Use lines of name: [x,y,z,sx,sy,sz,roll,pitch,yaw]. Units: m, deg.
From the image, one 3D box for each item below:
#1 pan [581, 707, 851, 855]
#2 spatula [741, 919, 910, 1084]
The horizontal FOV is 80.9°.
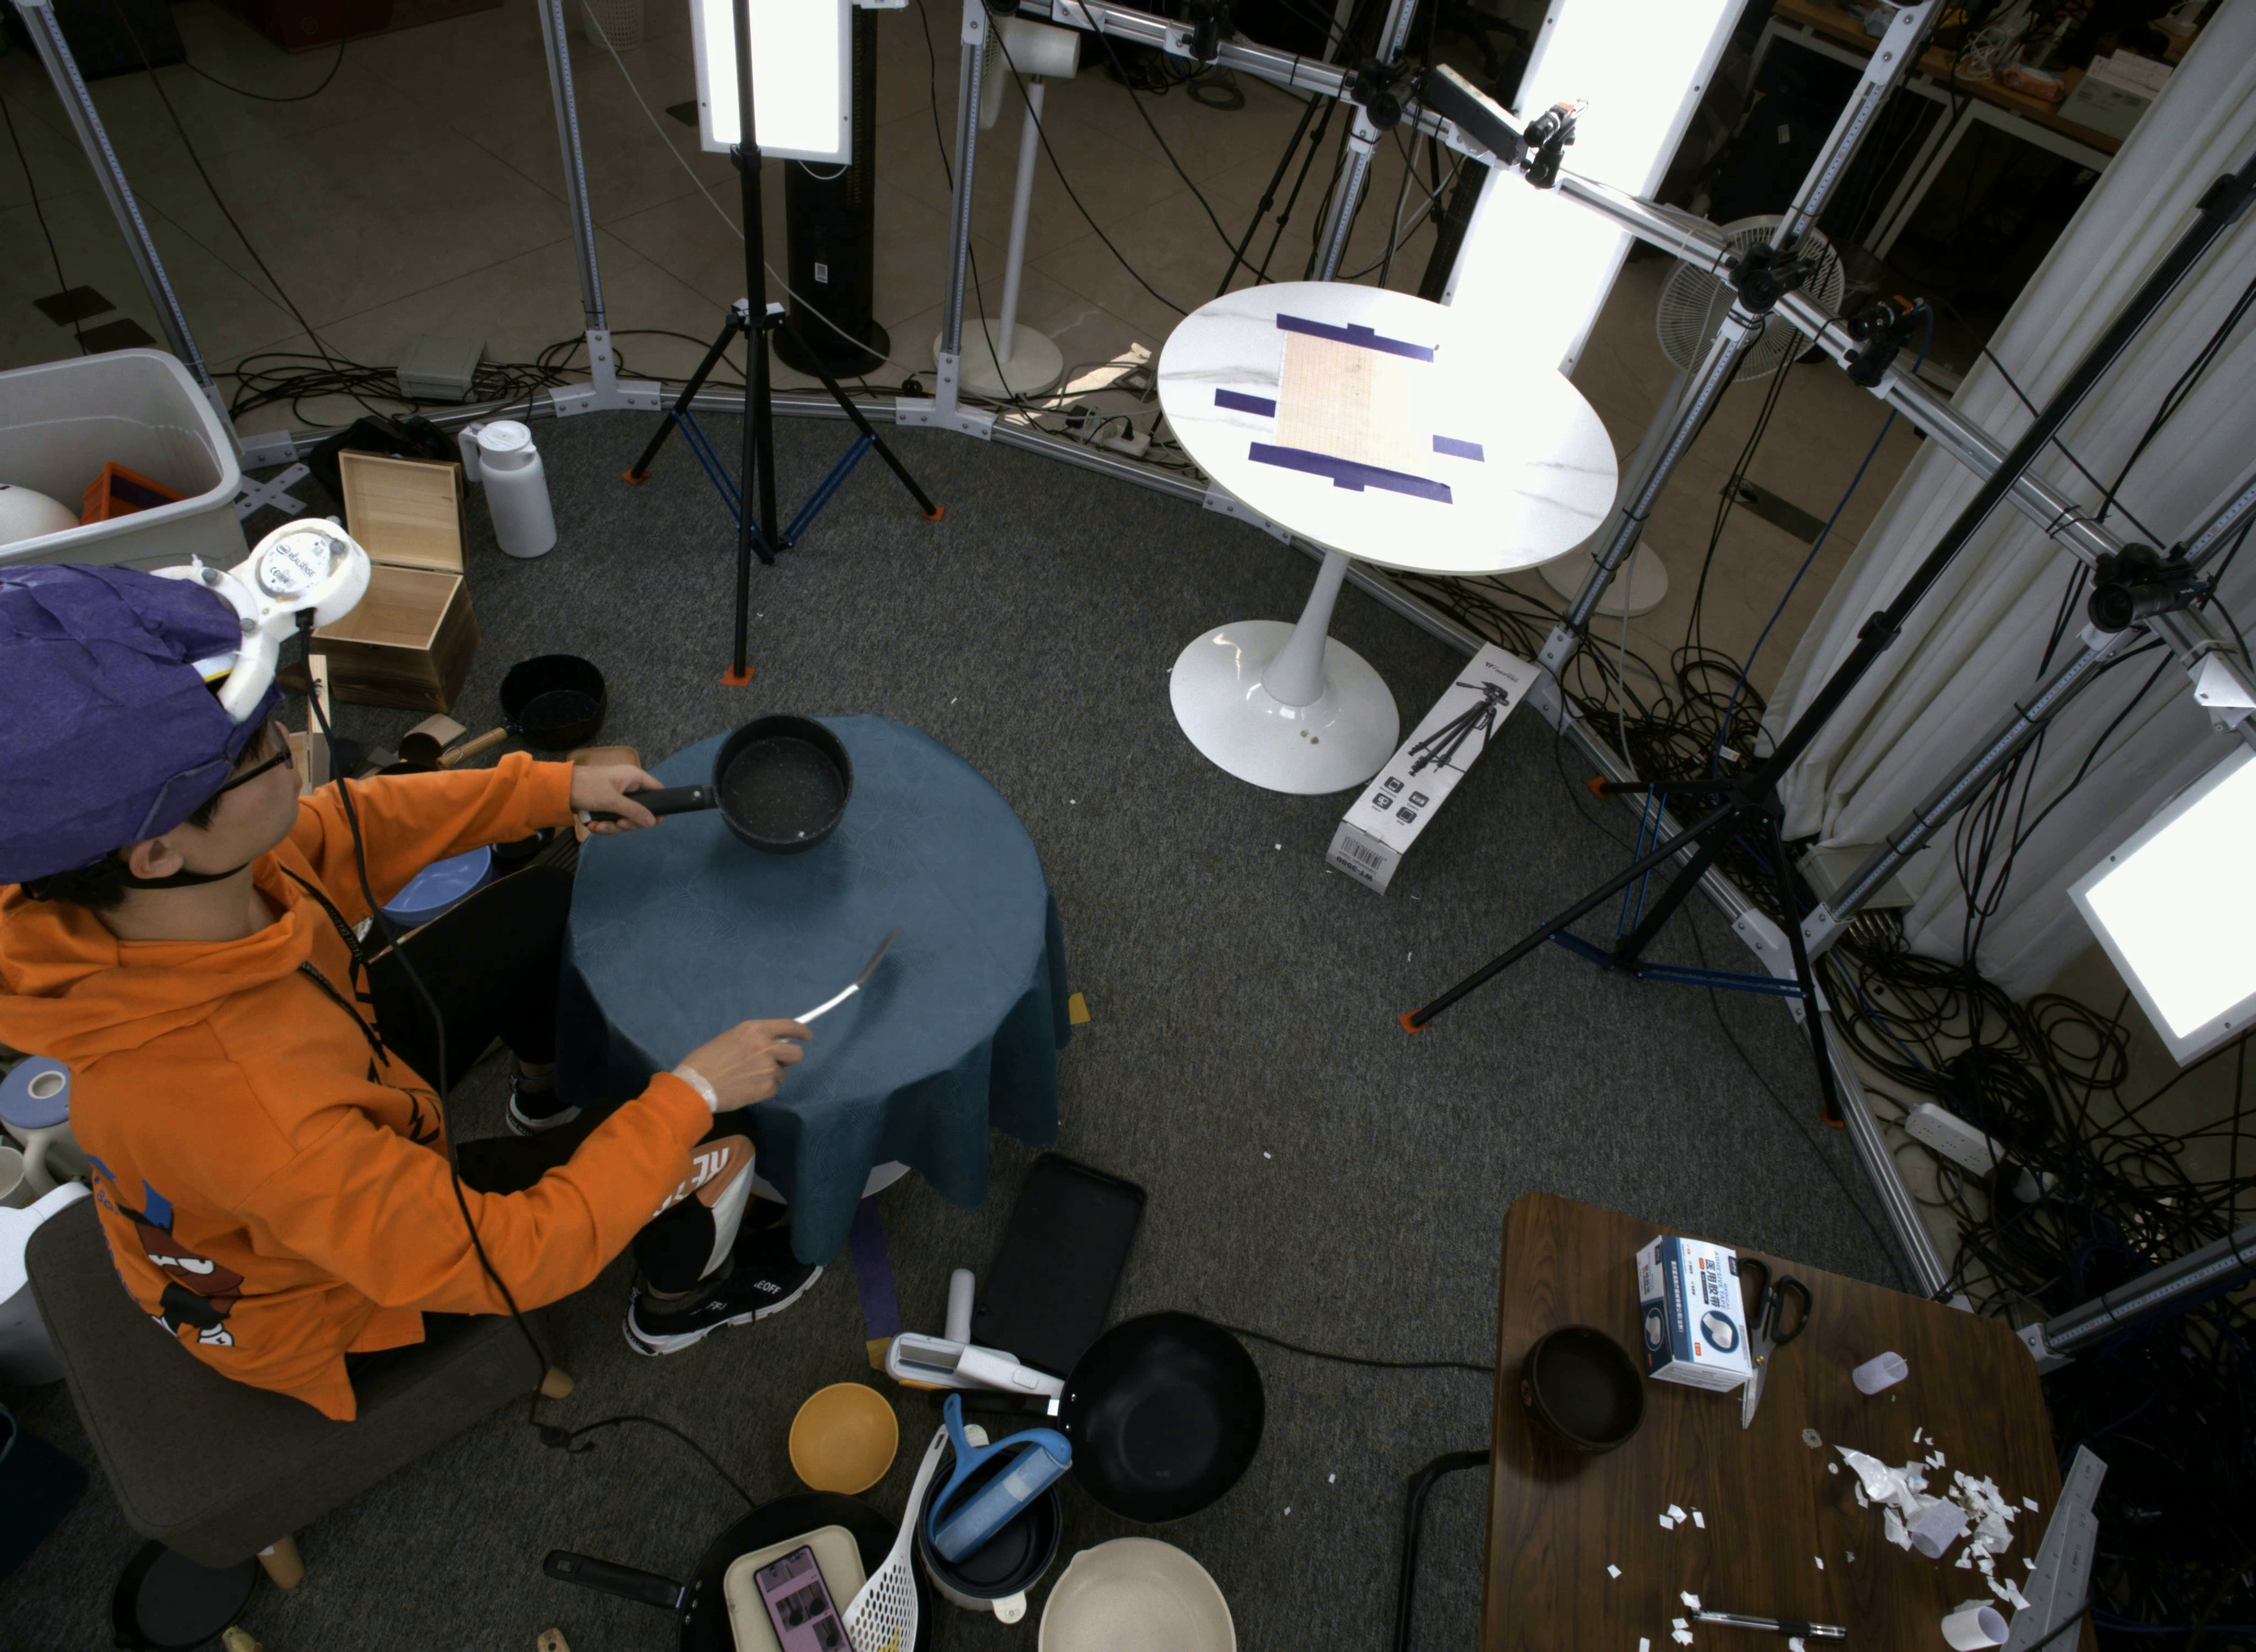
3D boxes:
pan: [-0.508,-0.042,1.589,0.330,0.086,0.171,-9,77,-21]
spatula: [-0.340,0.195,1.497,0.032,0.058,0.287,46,40,-1]
